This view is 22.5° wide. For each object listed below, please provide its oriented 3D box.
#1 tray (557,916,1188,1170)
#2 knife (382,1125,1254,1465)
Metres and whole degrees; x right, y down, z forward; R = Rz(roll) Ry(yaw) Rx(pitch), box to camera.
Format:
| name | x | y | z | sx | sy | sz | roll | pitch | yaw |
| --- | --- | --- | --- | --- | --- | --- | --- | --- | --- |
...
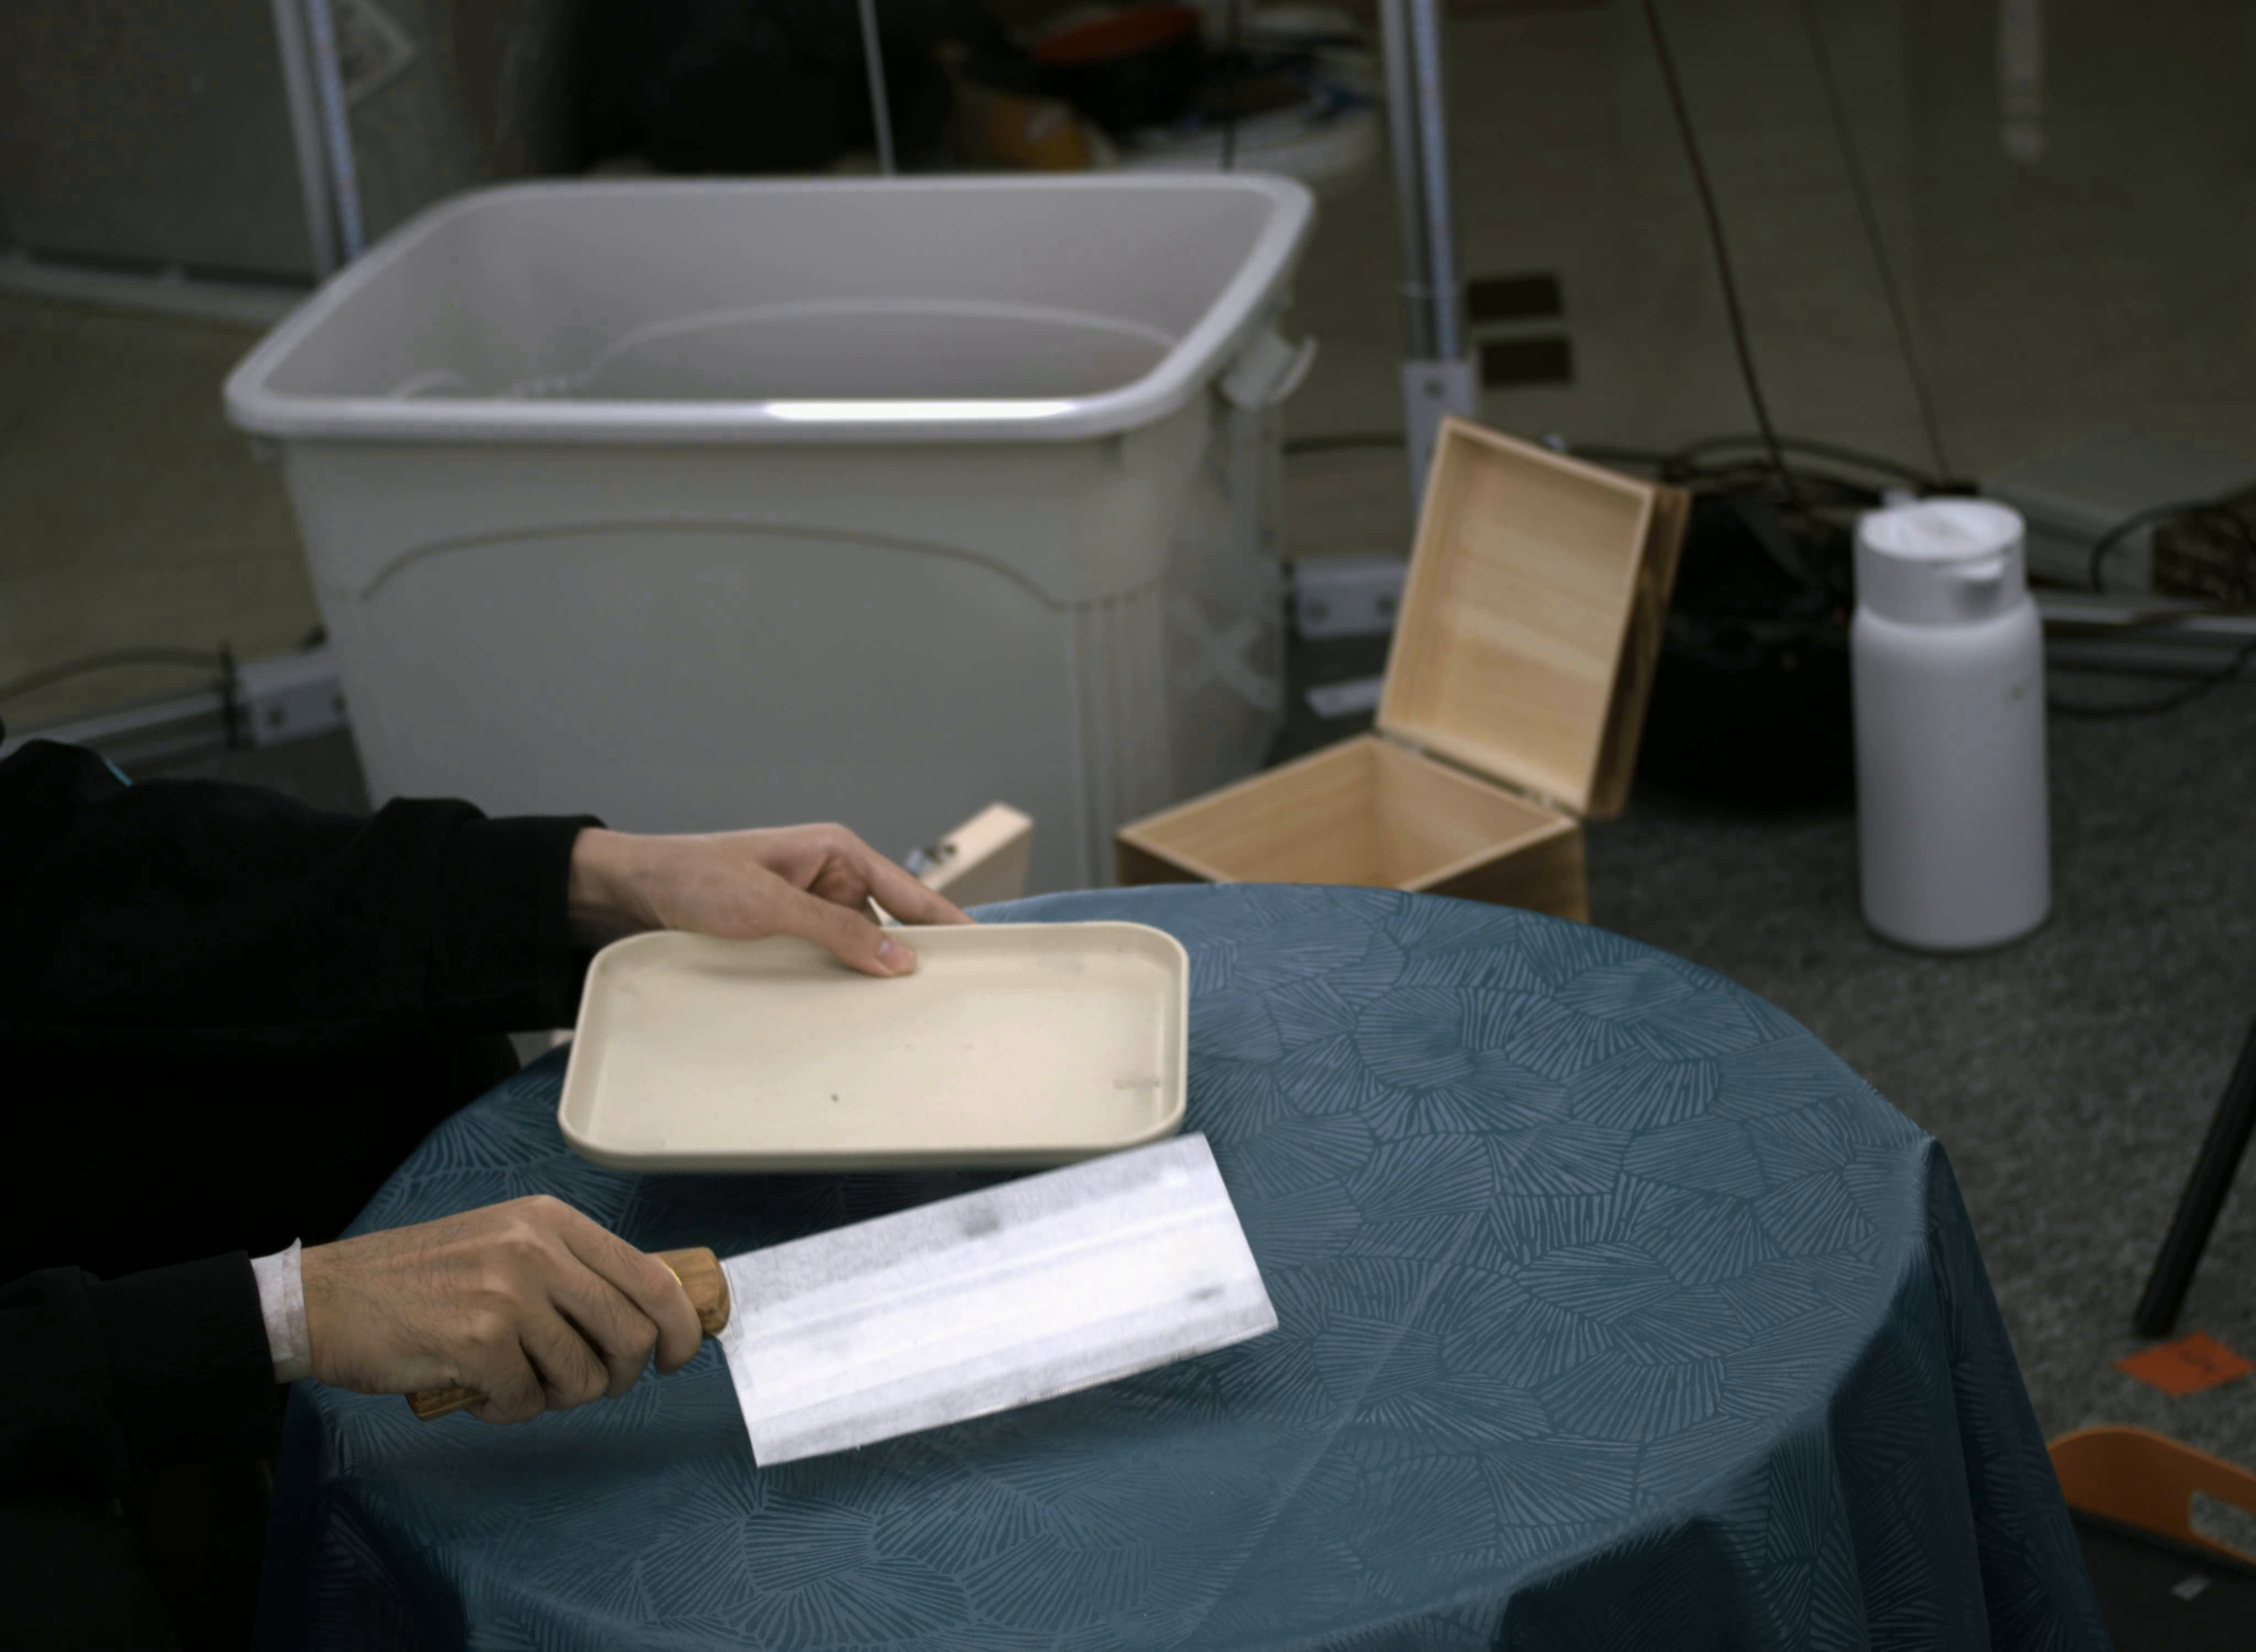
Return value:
| name | x | y | z | sx | sy | sz | roll | pitch | yaw |
| --- | --- | --- | --- | --- | --- | --- | --- | --- | --- |
| tray | -0.096 | 0.085 | 2.188 | 0.239 | 0.018 | 0.168 | -1 | 29 | 2 |
| knife | -0.106 | 0.177 | 1.993 | 0.305 | 0.021 | 0.091 | -15 | 53 | -9 |
